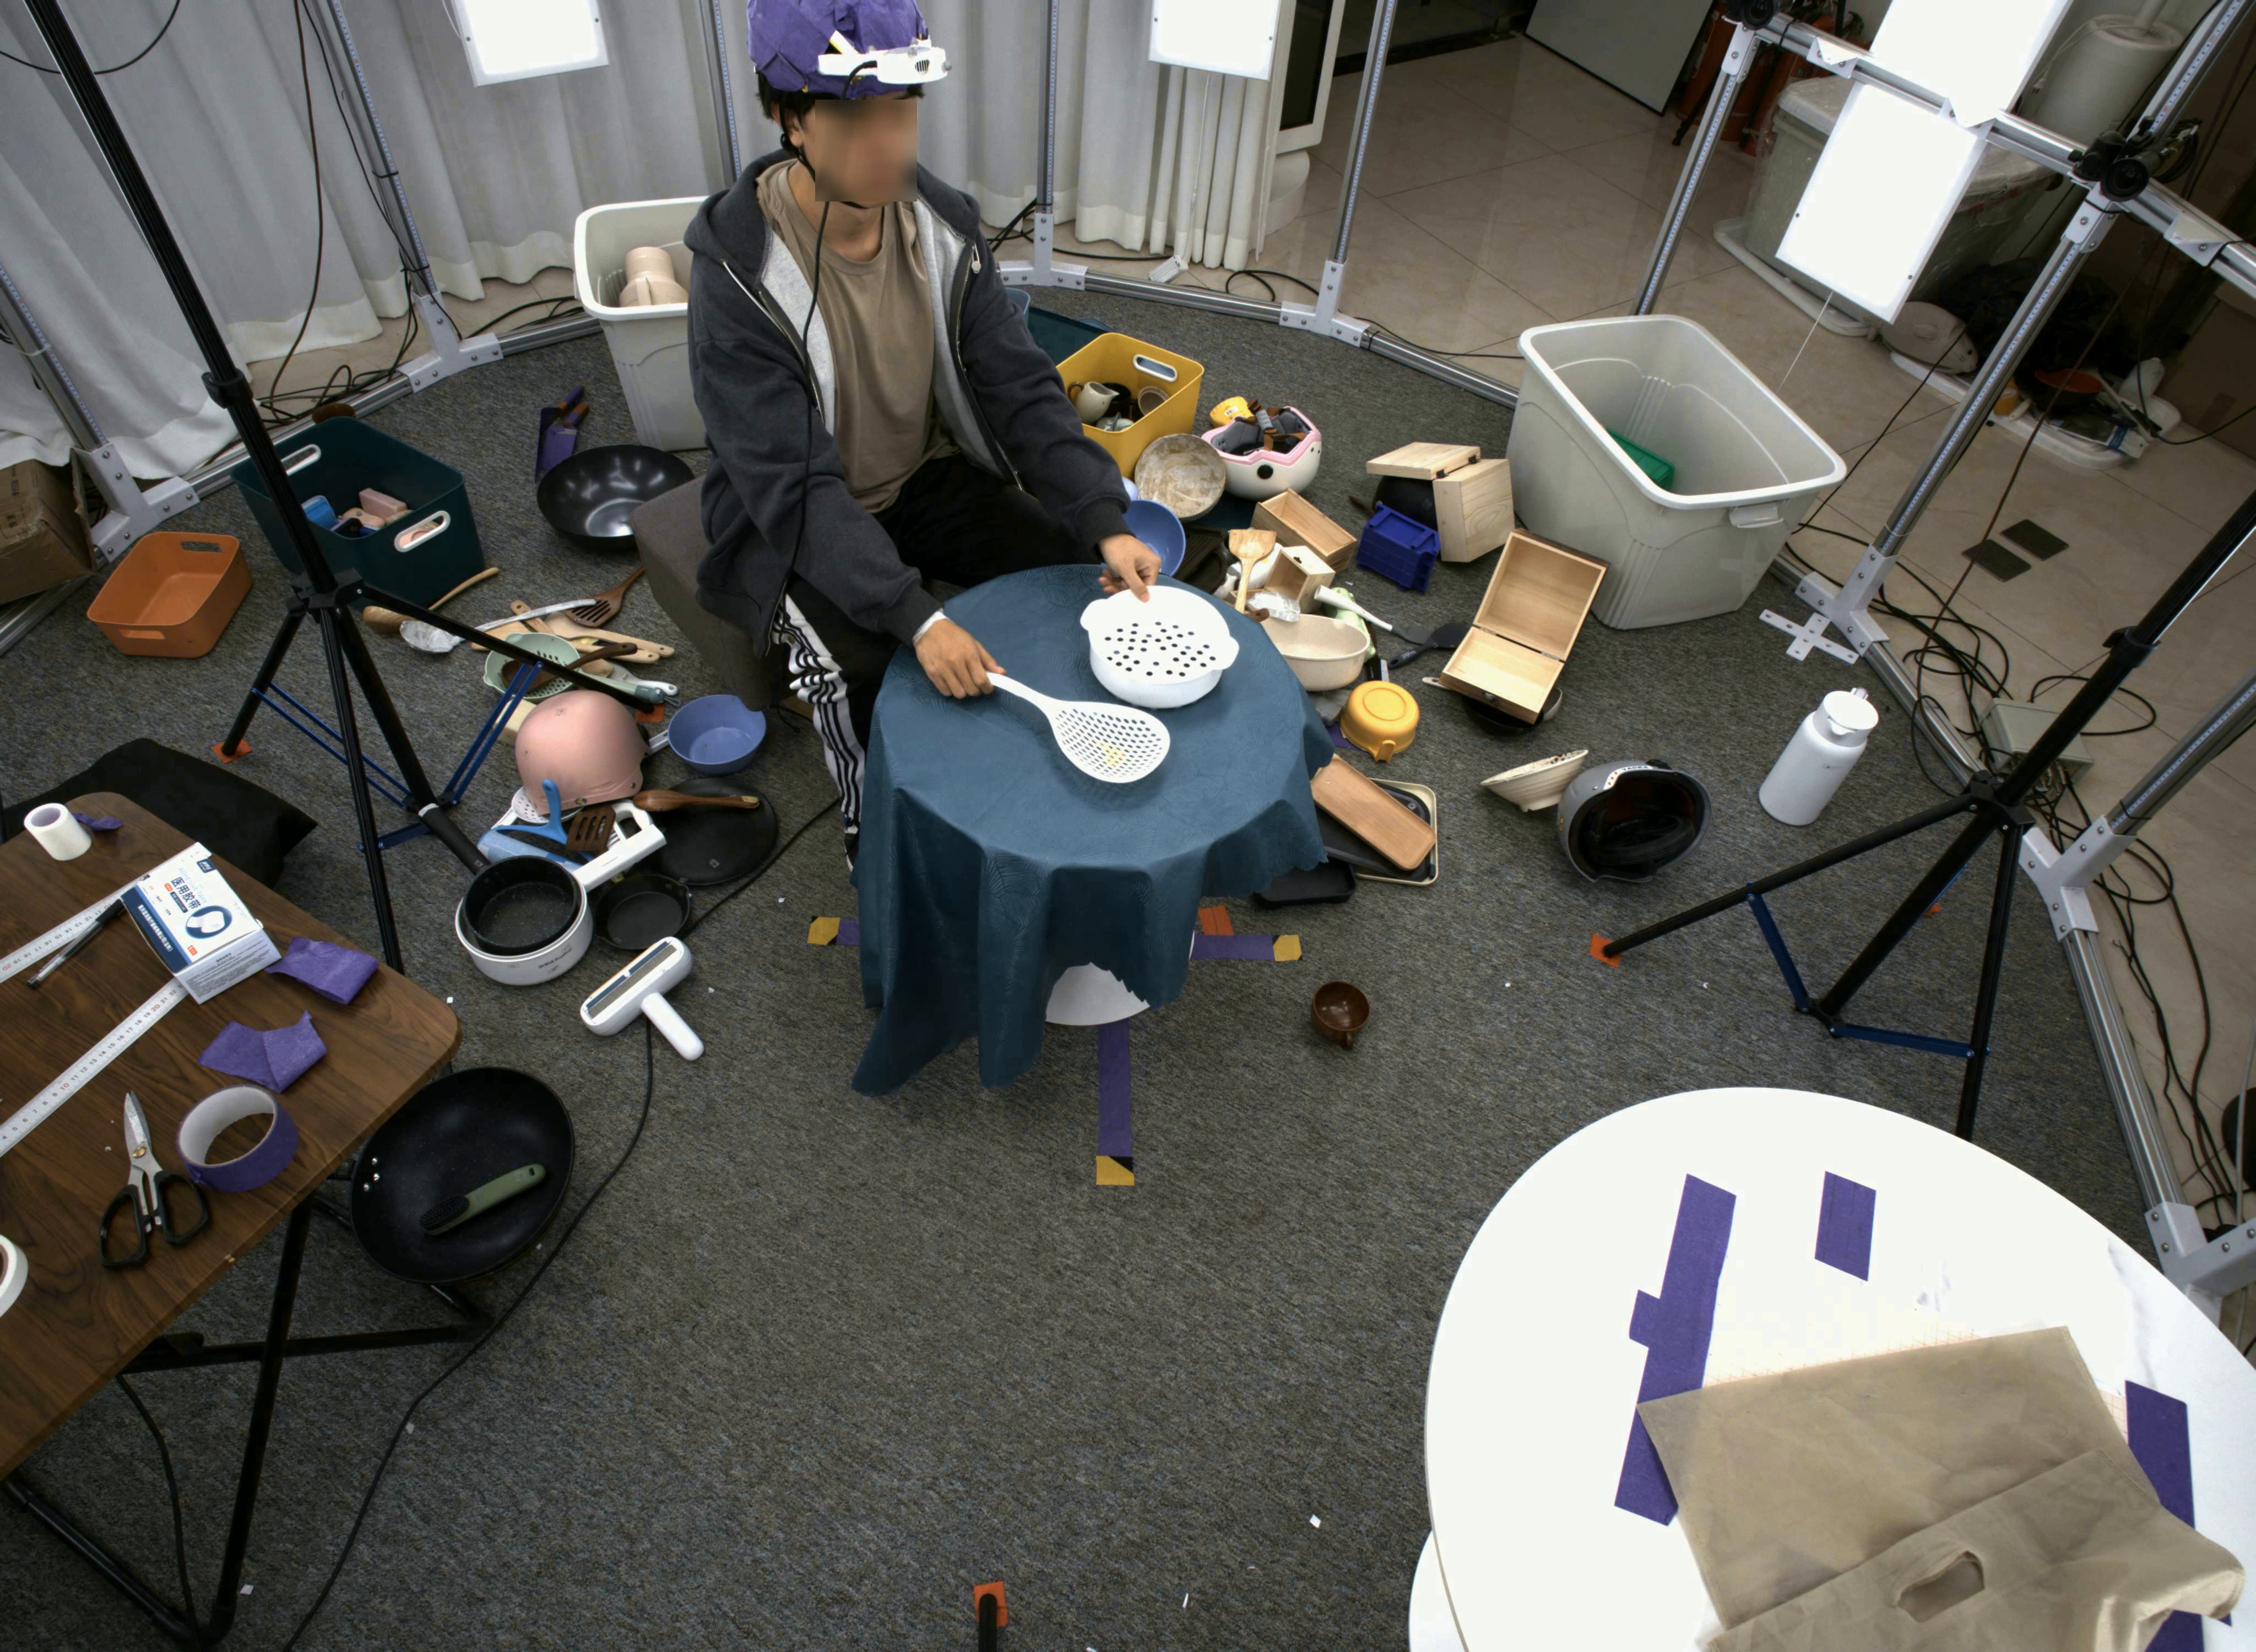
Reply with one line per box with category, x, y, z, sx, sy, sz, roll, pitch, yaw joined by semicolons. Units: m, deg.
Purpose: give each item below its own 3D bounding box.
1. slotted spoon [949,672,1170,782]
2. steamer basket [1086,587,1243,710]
slotted spoon;-0.103;-0.154;1.764;0.351;0.049;0.138;29;59;19
steamer basket;0.049;-0.255;1.847;0.231;0.067;0.206;20;50;10
